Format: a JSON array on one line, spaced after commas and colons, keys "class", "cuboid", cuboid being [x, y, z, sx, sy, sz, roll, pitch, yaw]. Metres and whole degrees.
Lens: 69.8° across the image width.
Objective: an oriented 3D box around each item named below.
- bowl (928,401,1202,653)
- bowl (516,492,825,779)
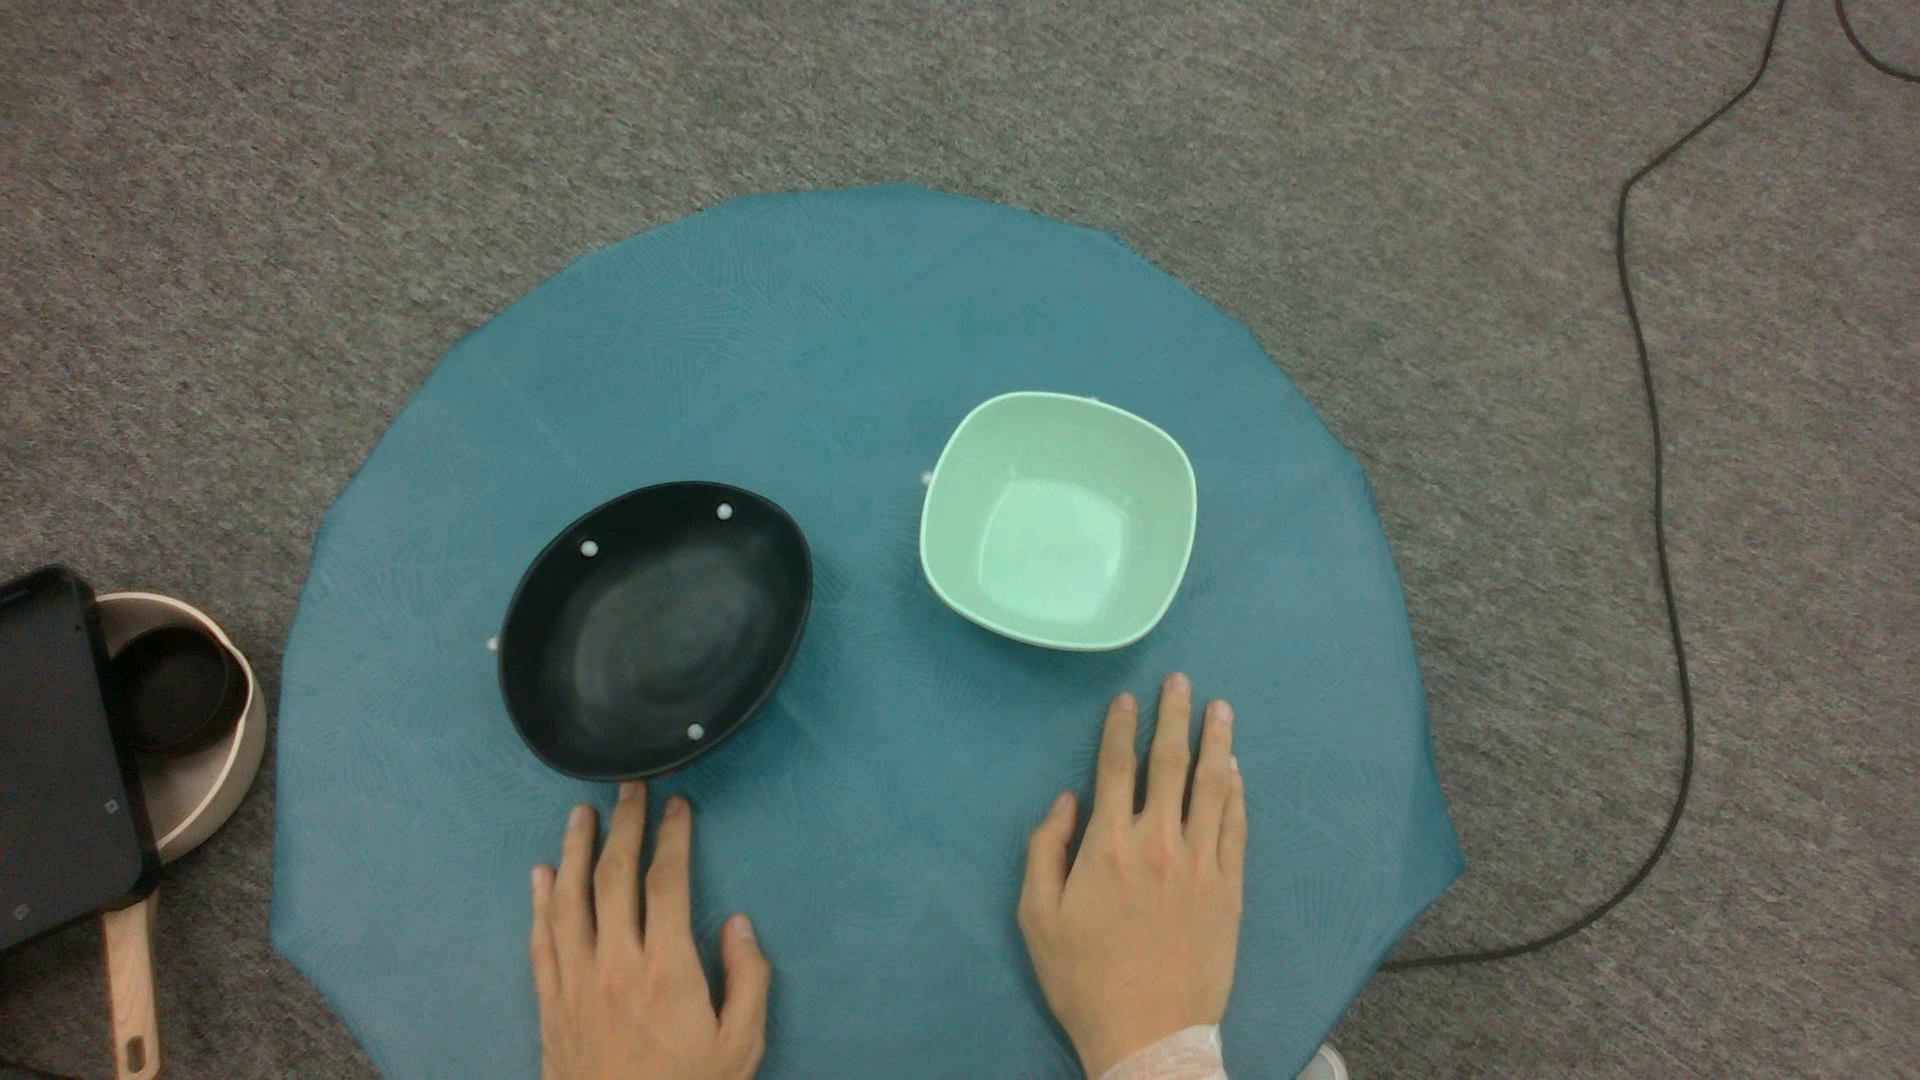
[{"class": "bowl", "cuboid": [0.056, 0.001, 0.740, 0.151, 0.058, 0.152, -1, 66, 2]}, {"class": "bowl", "cuboid": [-0.144, 0.052, 0.716, 0.137, 0.066, 0.171, 36, 70, 14]}]
